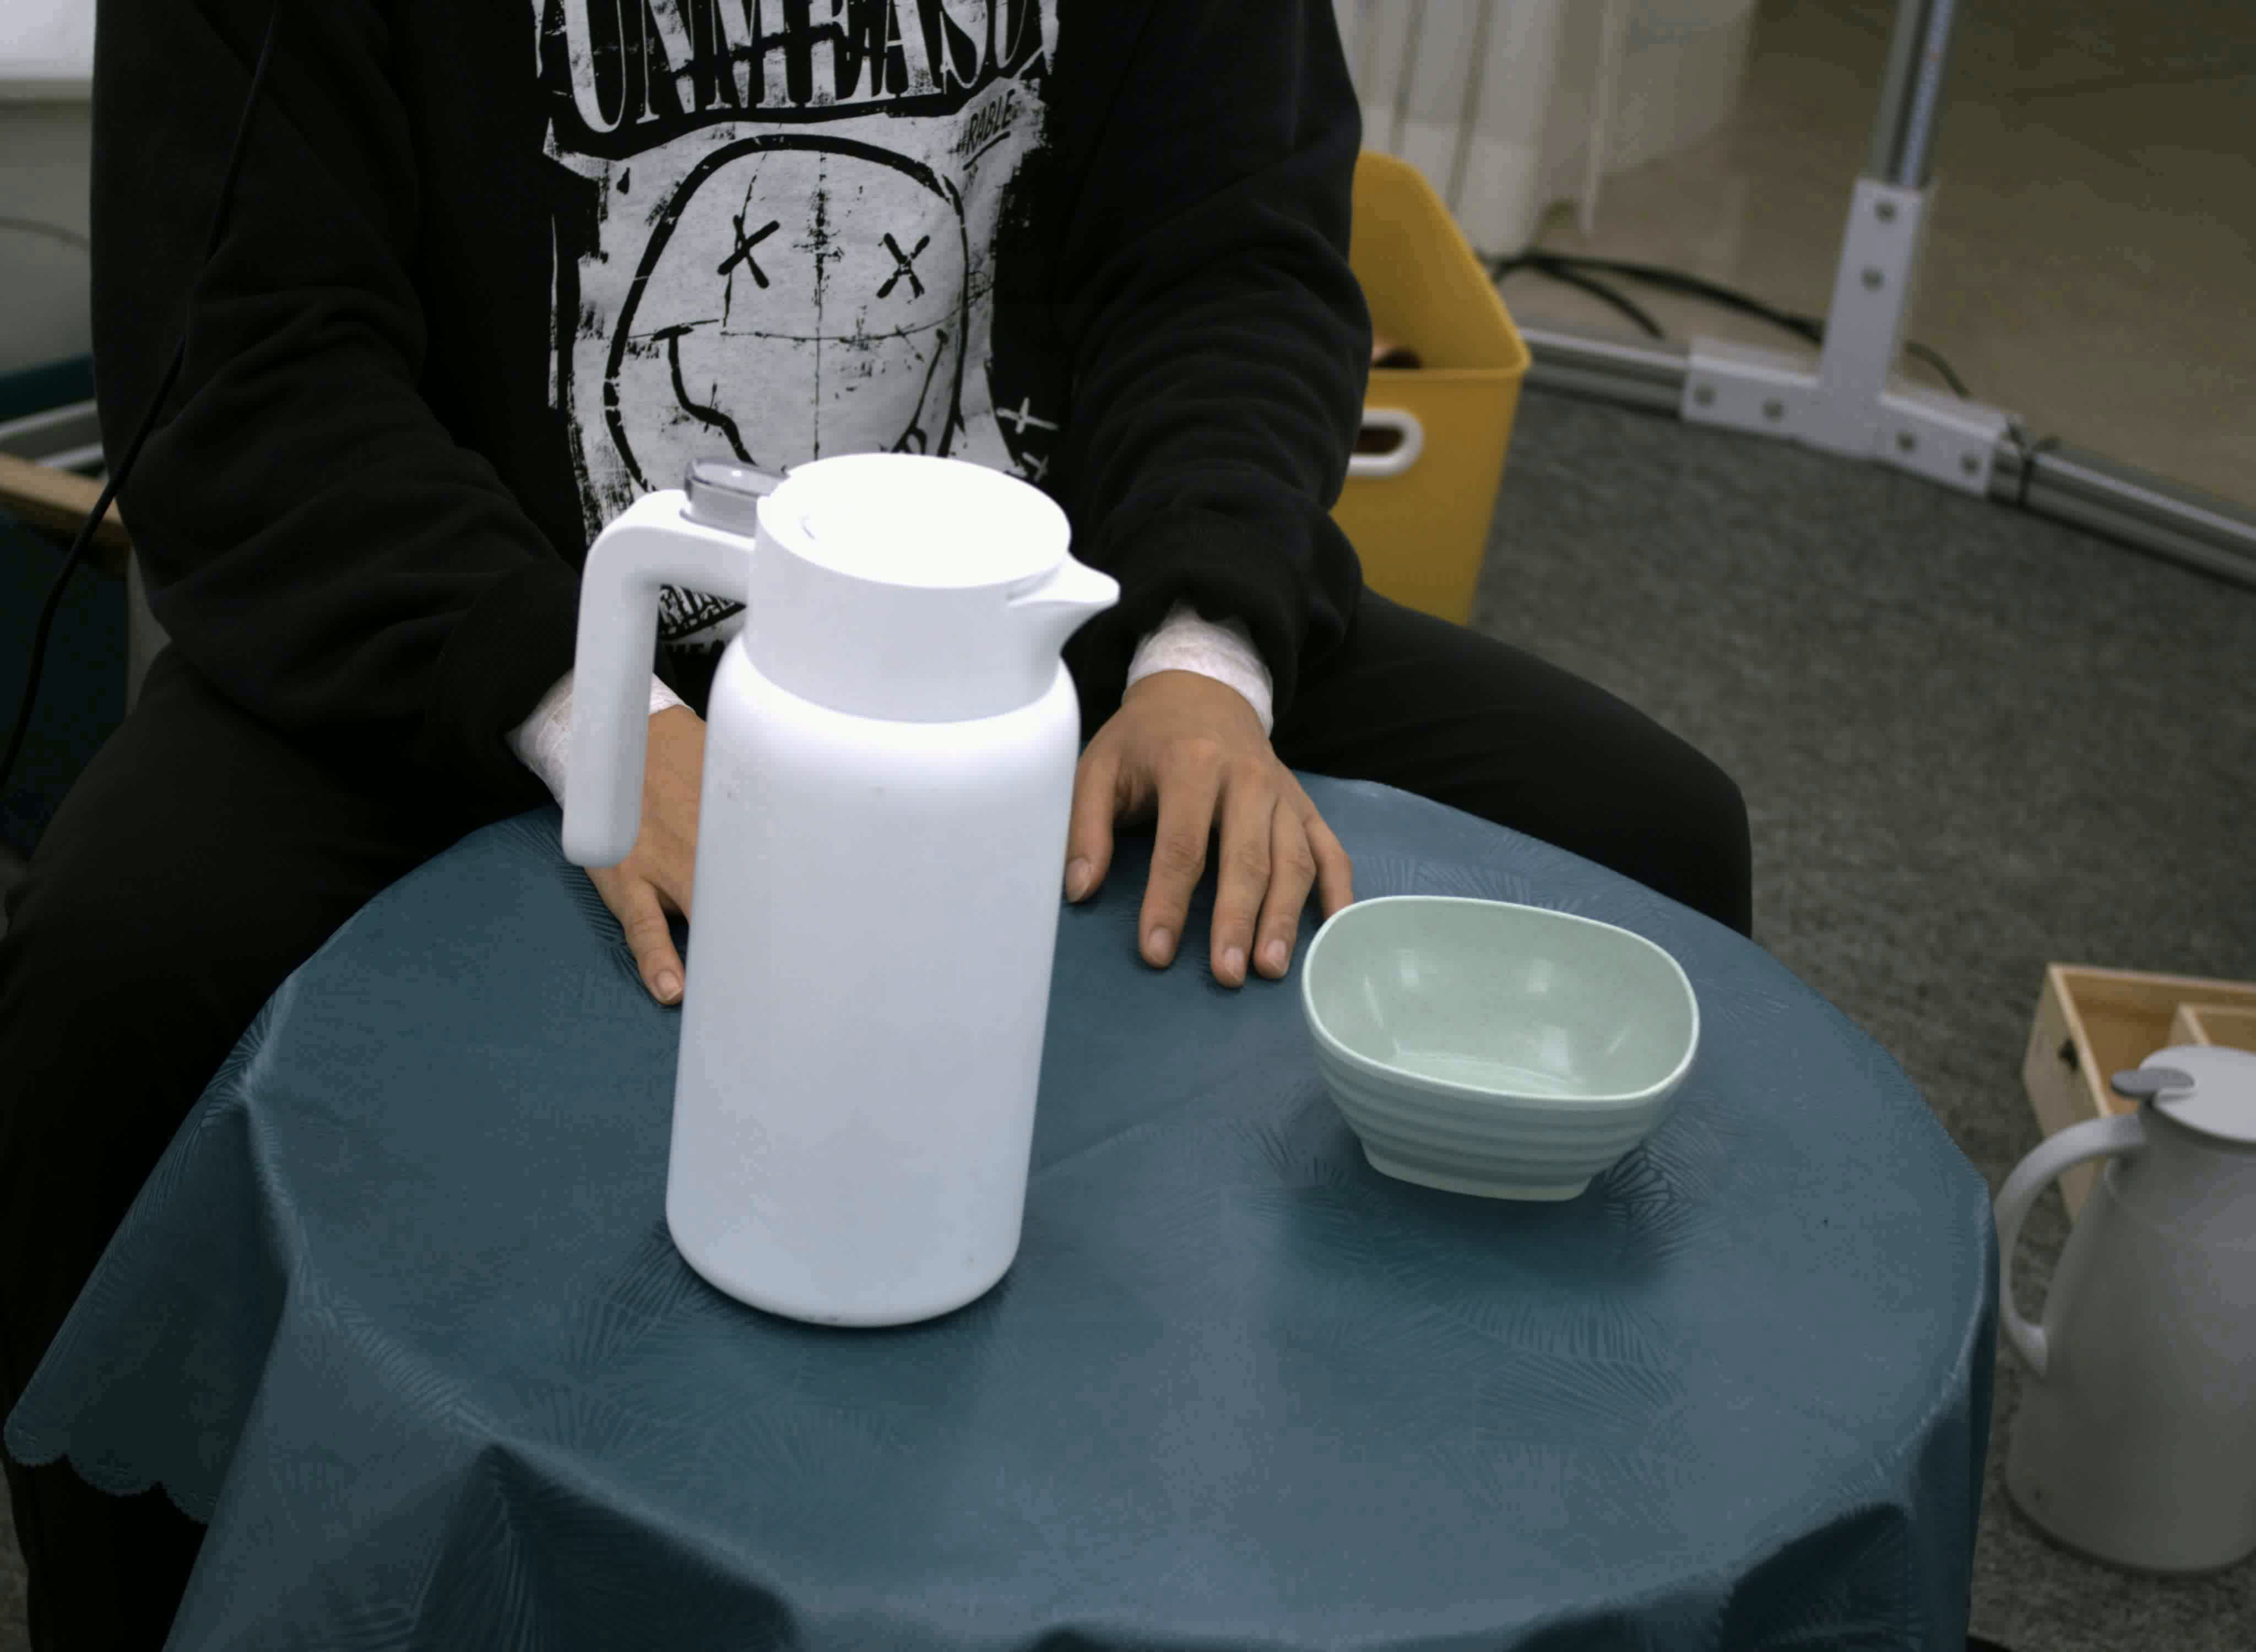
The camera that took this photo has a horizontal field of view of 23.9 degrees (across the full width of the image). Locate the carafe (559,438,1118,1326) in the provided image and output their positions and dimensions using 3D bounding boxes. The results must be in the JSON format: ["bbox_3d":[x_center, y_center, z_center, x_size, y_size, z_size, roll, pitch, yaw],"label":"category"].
[{"bbox_3d":[-0.099,0.017,1.700,0.173,0.268,0.124,14,29,13],"label":"carafe"}]

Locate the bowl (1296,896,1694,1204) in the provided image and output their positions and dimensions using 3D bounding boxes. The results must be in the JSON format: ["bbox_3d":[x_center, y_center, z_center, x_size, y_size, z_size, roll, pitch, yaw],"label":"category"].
[{"bbox_3d":[0.124,0.084,1.851,0.151,0.058,0.152,6,27,-3],"label":"bowl"}]
